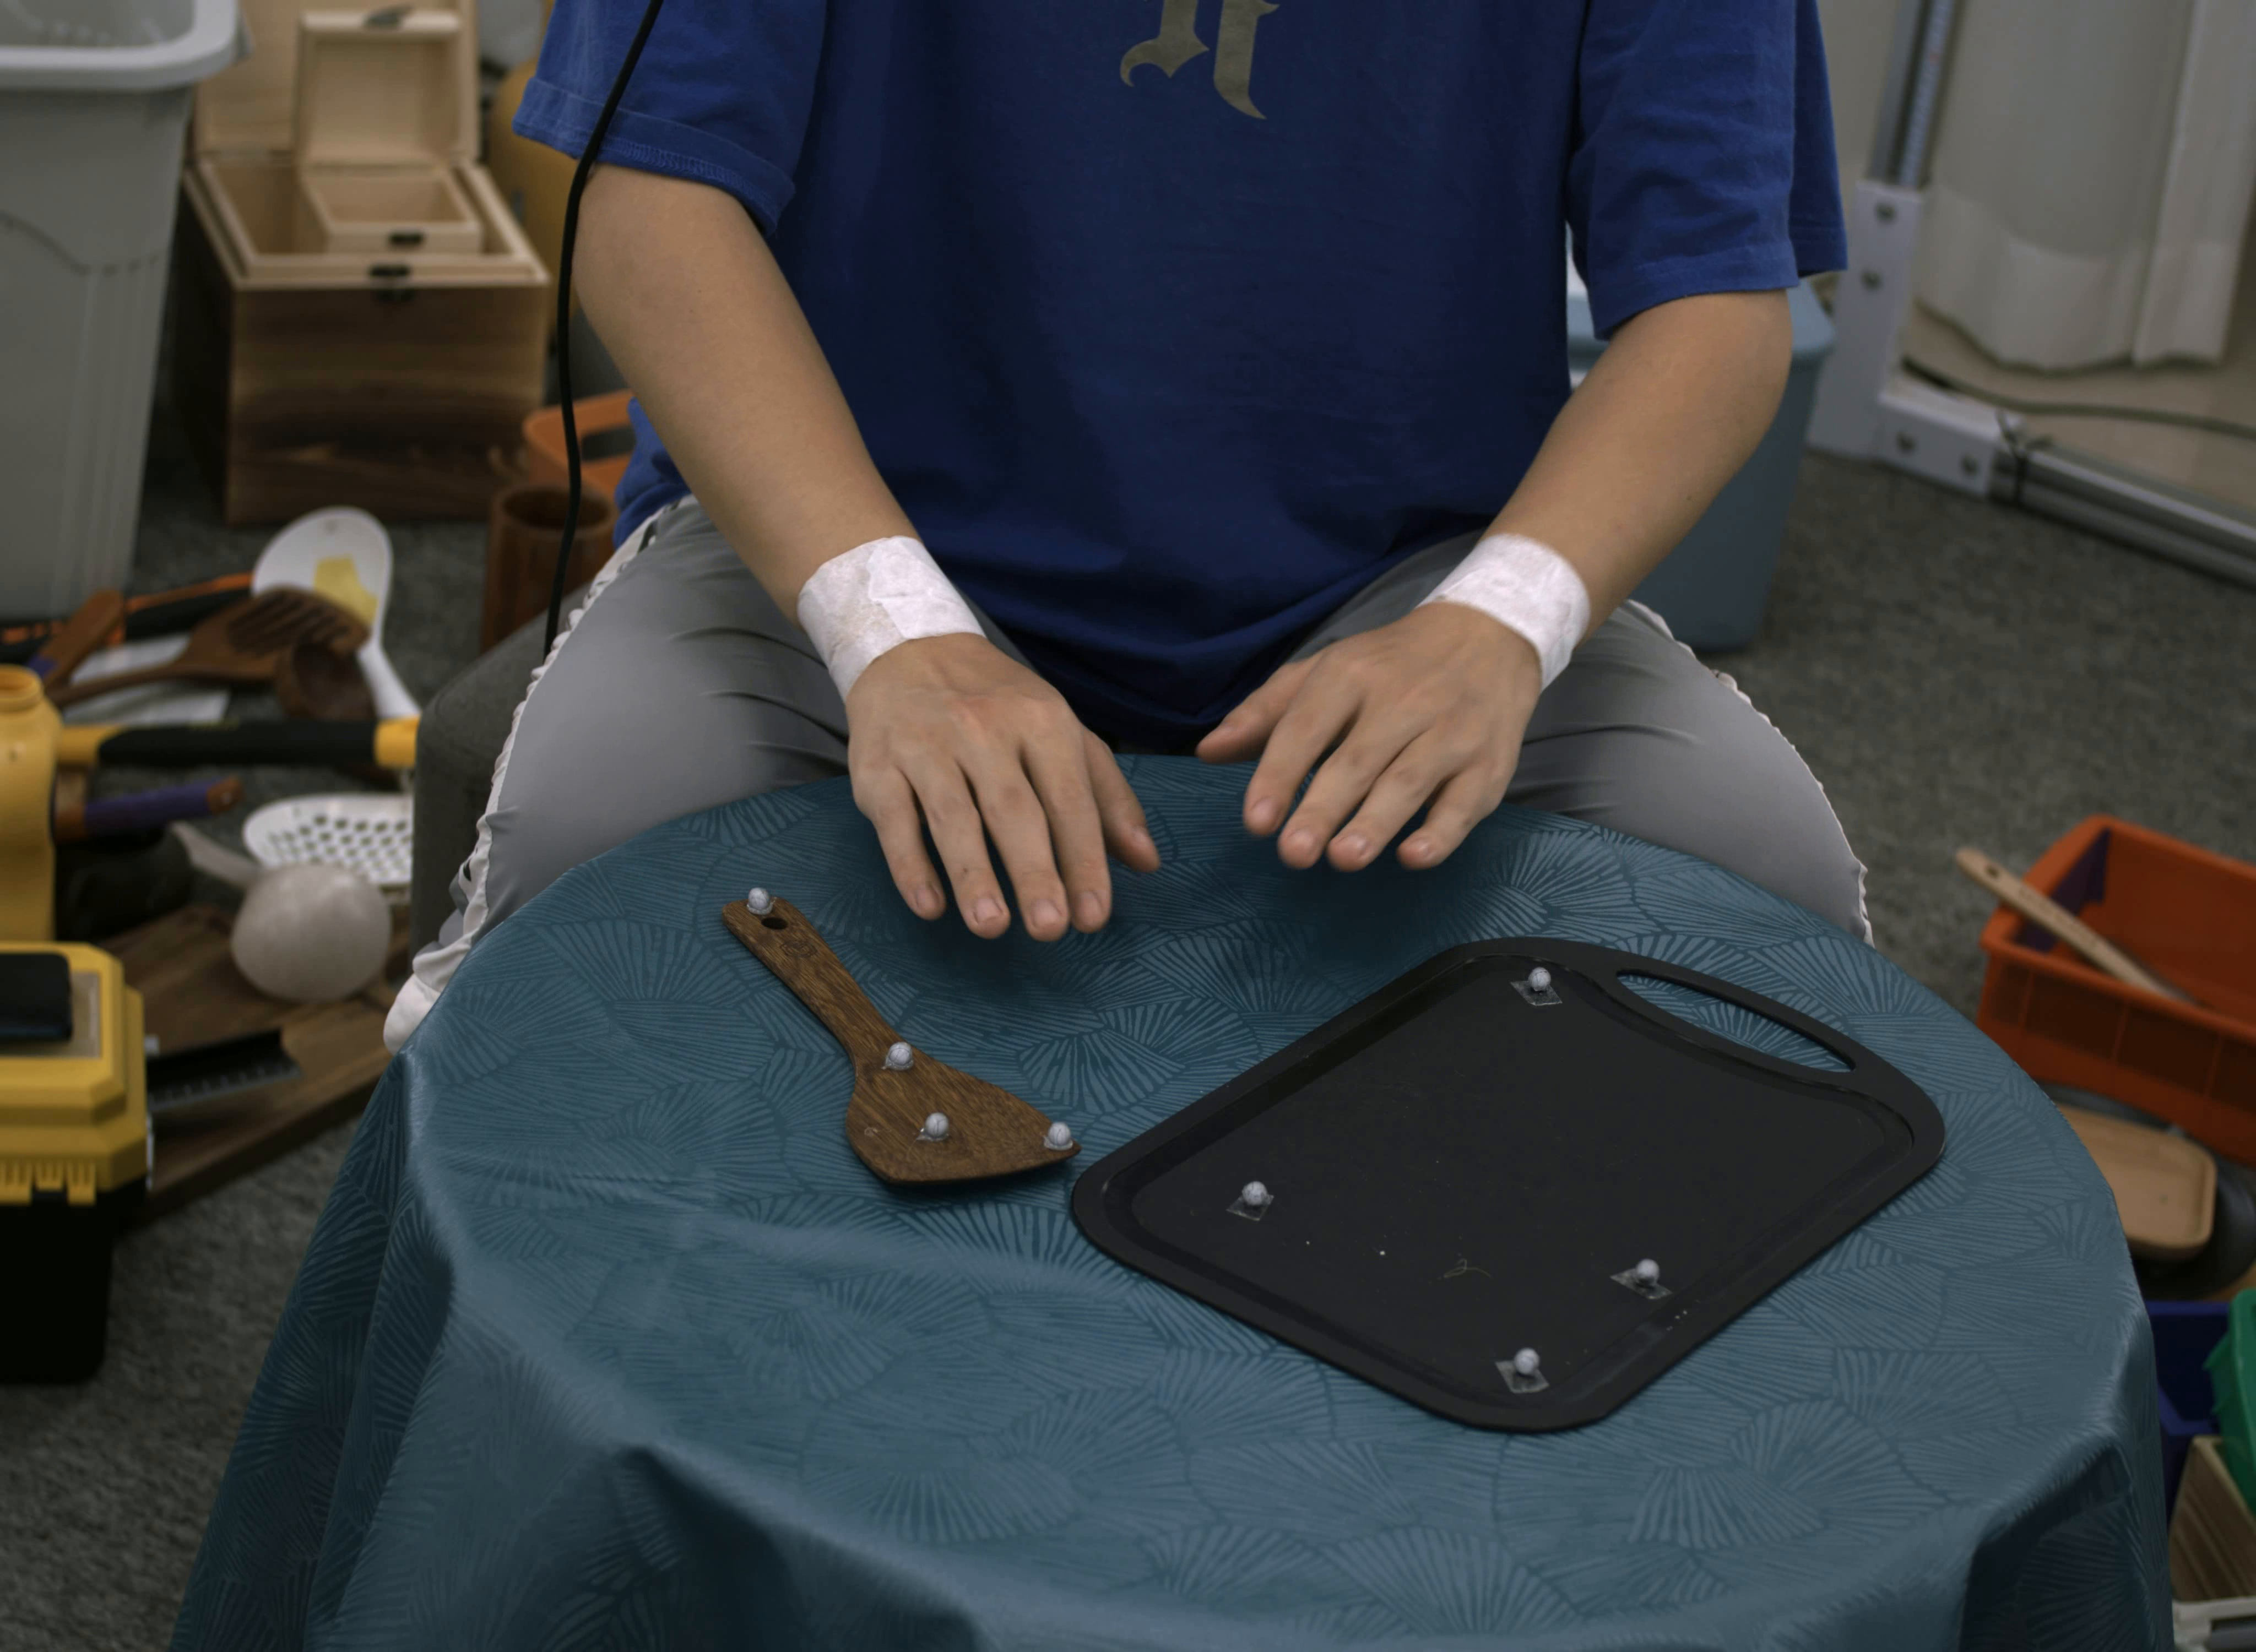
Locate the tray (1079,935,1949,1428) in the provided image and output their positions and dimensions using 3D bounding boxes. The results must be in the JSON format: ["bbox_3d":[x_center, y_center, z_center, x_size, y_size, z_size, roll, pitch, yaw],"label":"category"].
[{"bbox_3d":[0.142,0.112,1.850,0.212,0.010,0.324,23,31,30],"label":"tray"}]

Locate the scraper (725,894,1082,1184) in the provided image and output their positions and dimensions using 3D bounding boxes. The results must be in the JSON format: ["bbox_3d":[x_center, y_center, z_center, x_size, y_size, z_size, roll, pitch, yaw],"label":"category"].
[{"bbox_3d":[-0.091,0.074,1.871,0.075,0.011,0.213,-7,29,-26],"label":"scraper"}]
